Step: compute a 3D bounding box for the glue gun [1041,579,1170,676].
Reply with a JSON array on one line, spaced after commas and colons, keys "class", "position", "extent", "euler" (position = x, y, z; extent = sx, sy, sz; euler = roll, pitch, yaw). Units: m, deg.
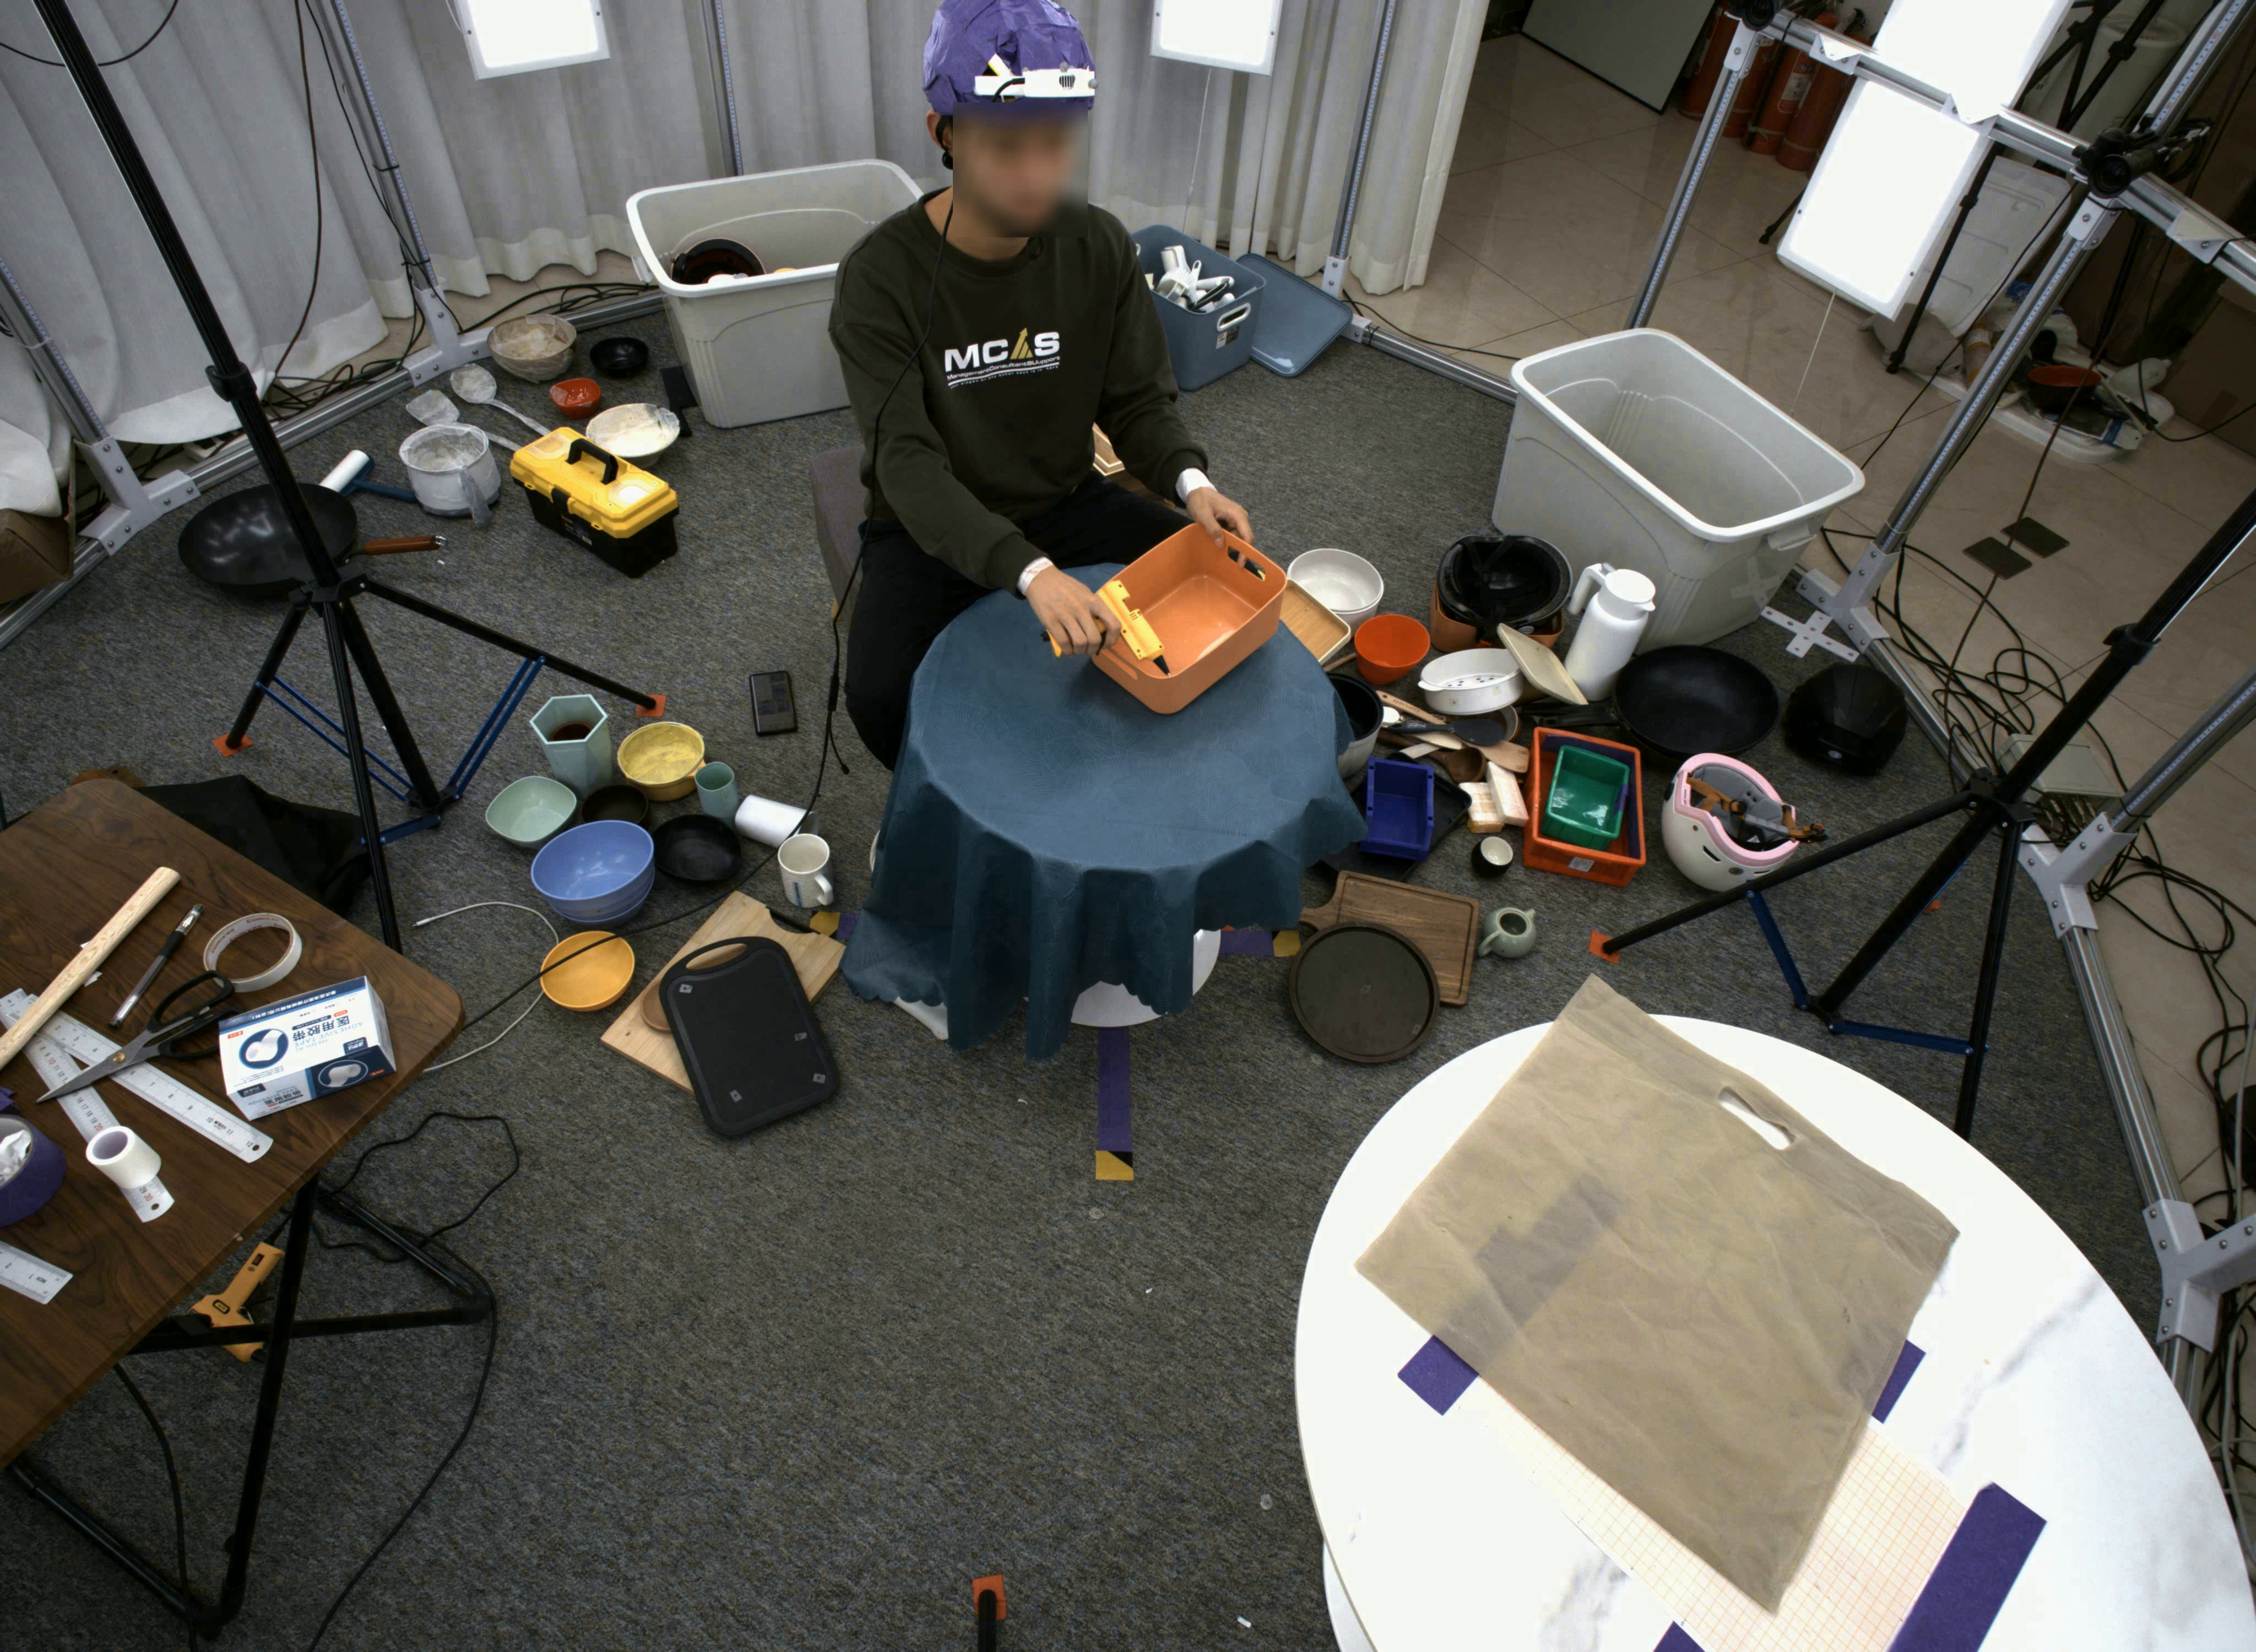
[{"class": "glue gun", "position": [-0.020, -0.237, 1.718], "extent": [0.133, 0.031, 0.152], "euler": [-37, 84, -10]}]

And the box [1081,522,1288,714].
[{"class": "box", "position": [0.082, -0.295, 1.837], "extent": [0.275, 0.100, 0.202], "euler": [-40, 60, -21]}]
